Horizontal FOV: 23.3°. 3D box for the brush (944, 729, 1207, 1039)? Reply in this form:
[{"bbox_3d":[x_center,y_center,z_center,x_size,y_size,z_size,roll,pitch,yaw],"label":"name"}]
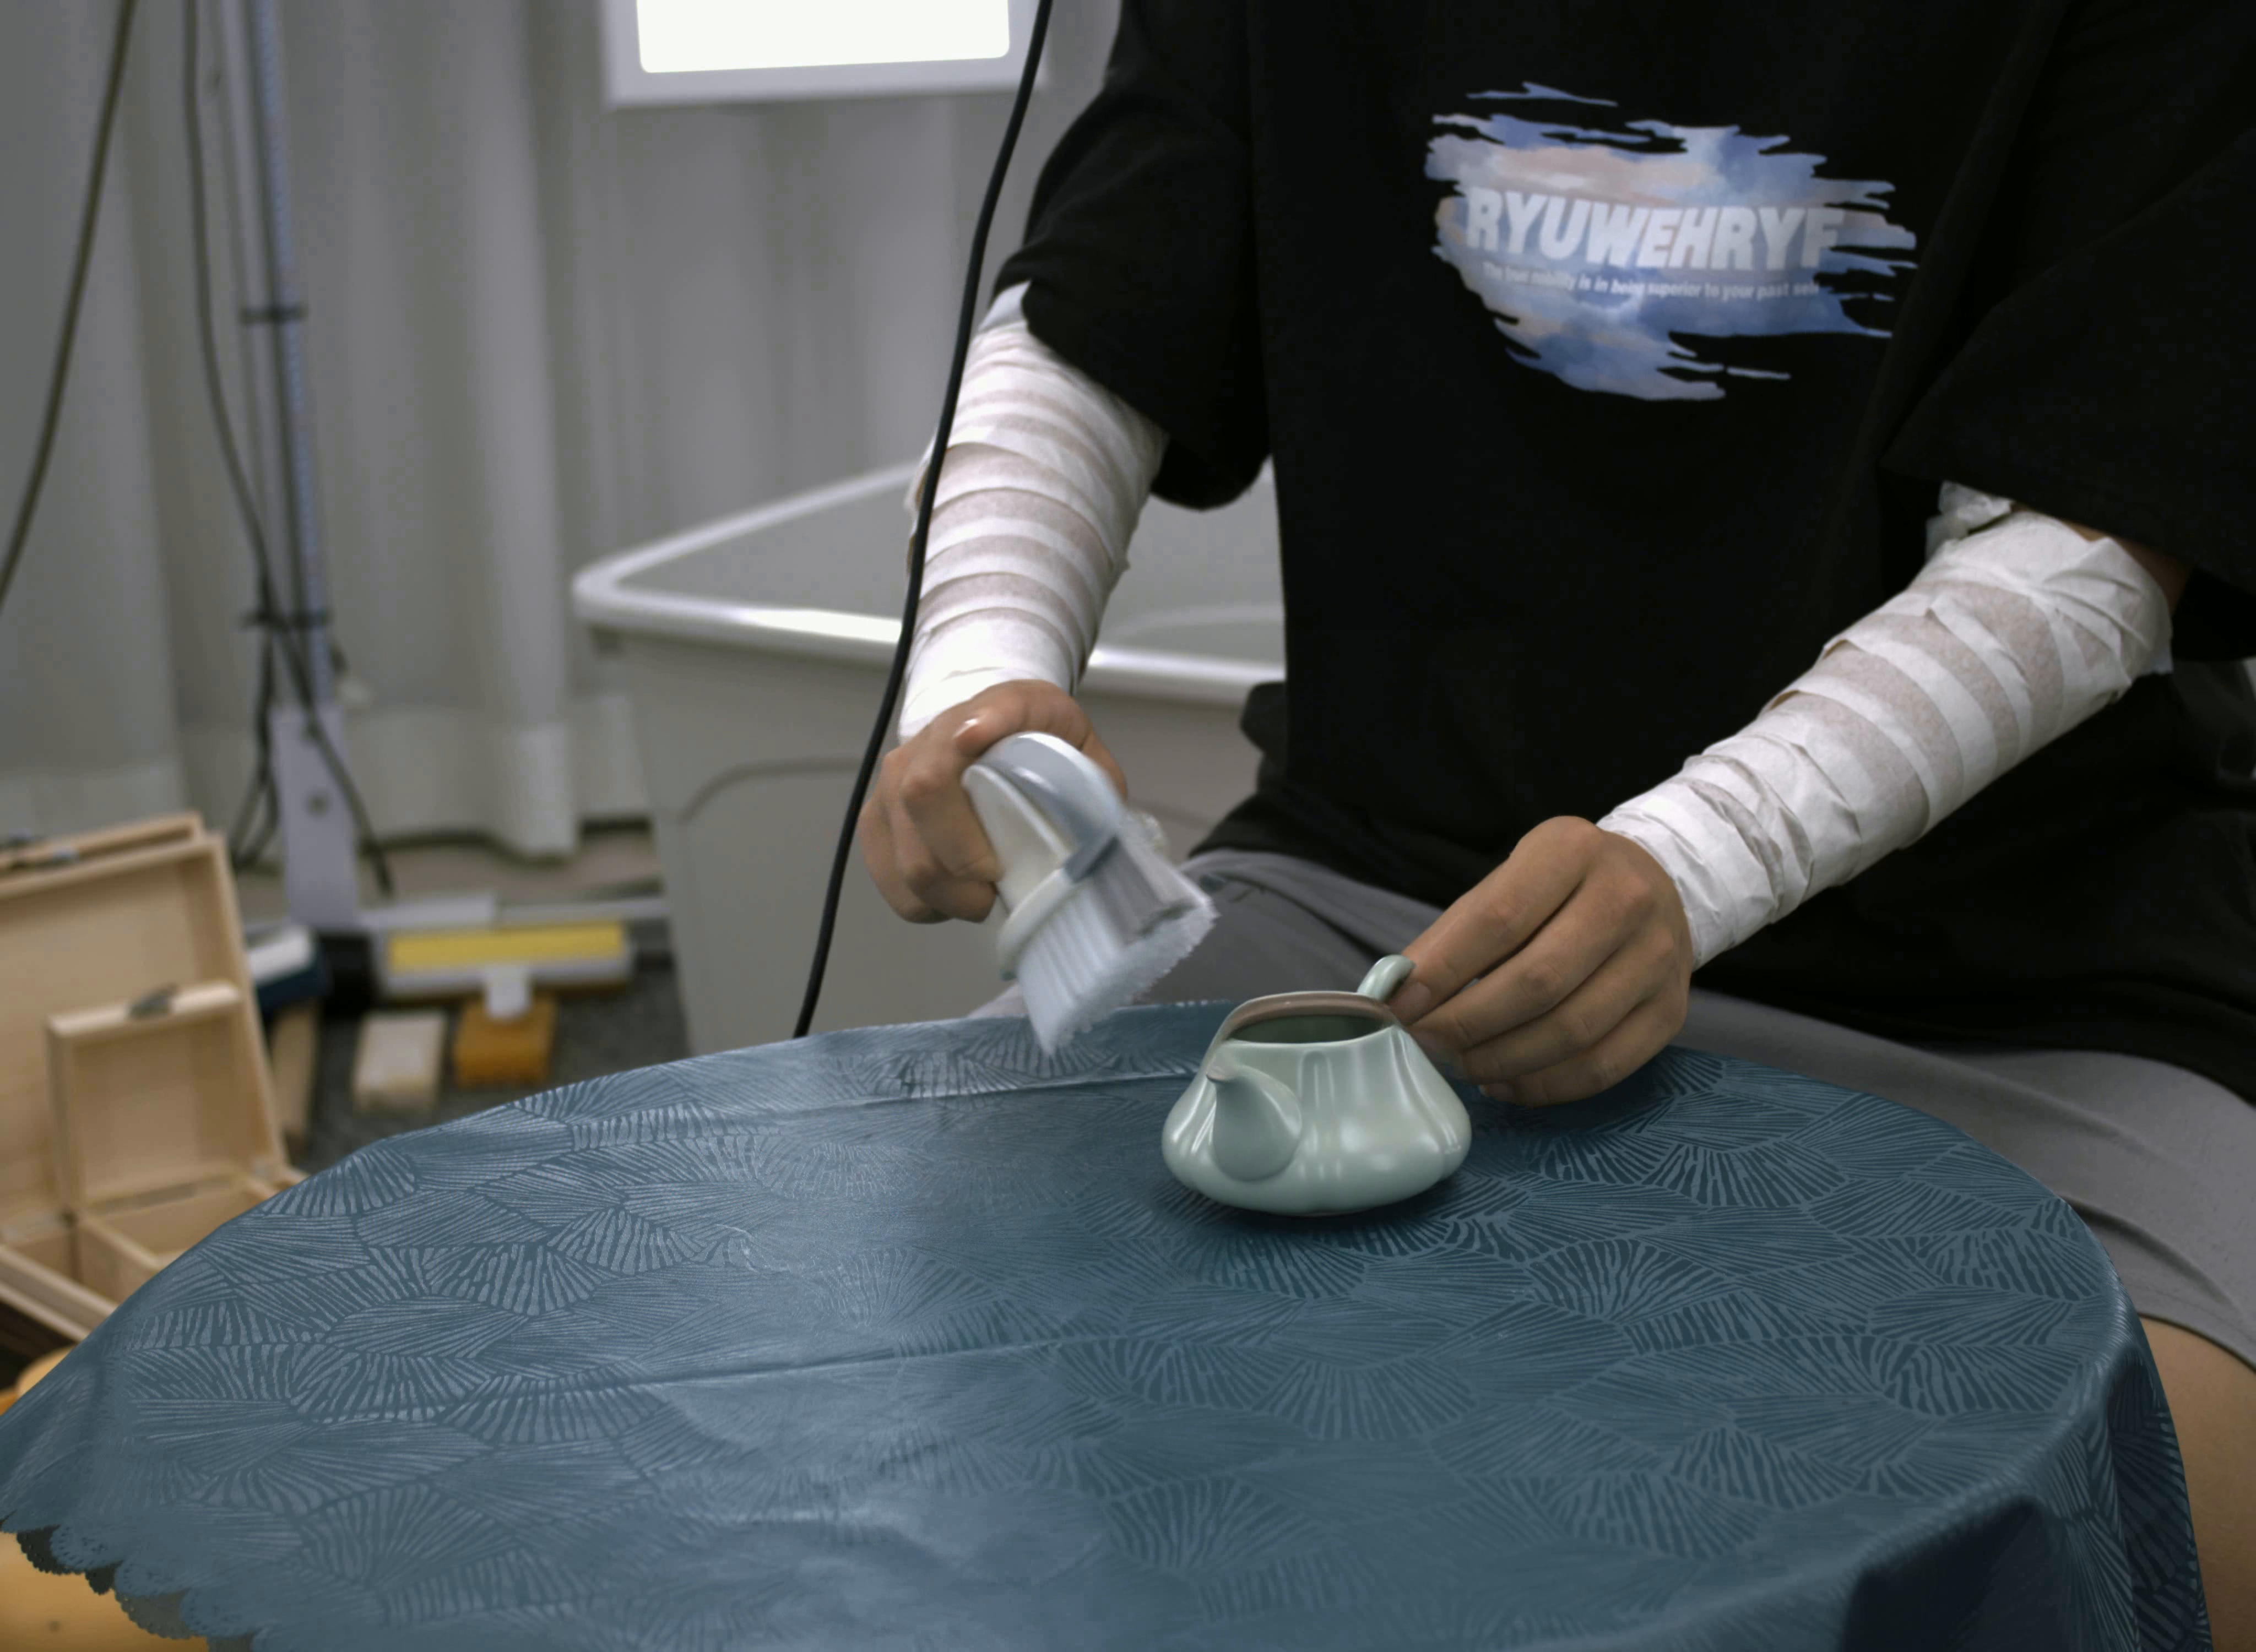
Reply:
[{"bbox_3d":[-0.021,0.008,1.746,0.061,0.094,0.175,-34,-5,-11],"label":"brush"}]

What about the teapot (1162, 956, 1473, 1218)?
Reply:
[{"bbox_3d":[0.060,0.084,1.700,0.096,0.061,0.137,2,15,27],"label":"teapot"}]
